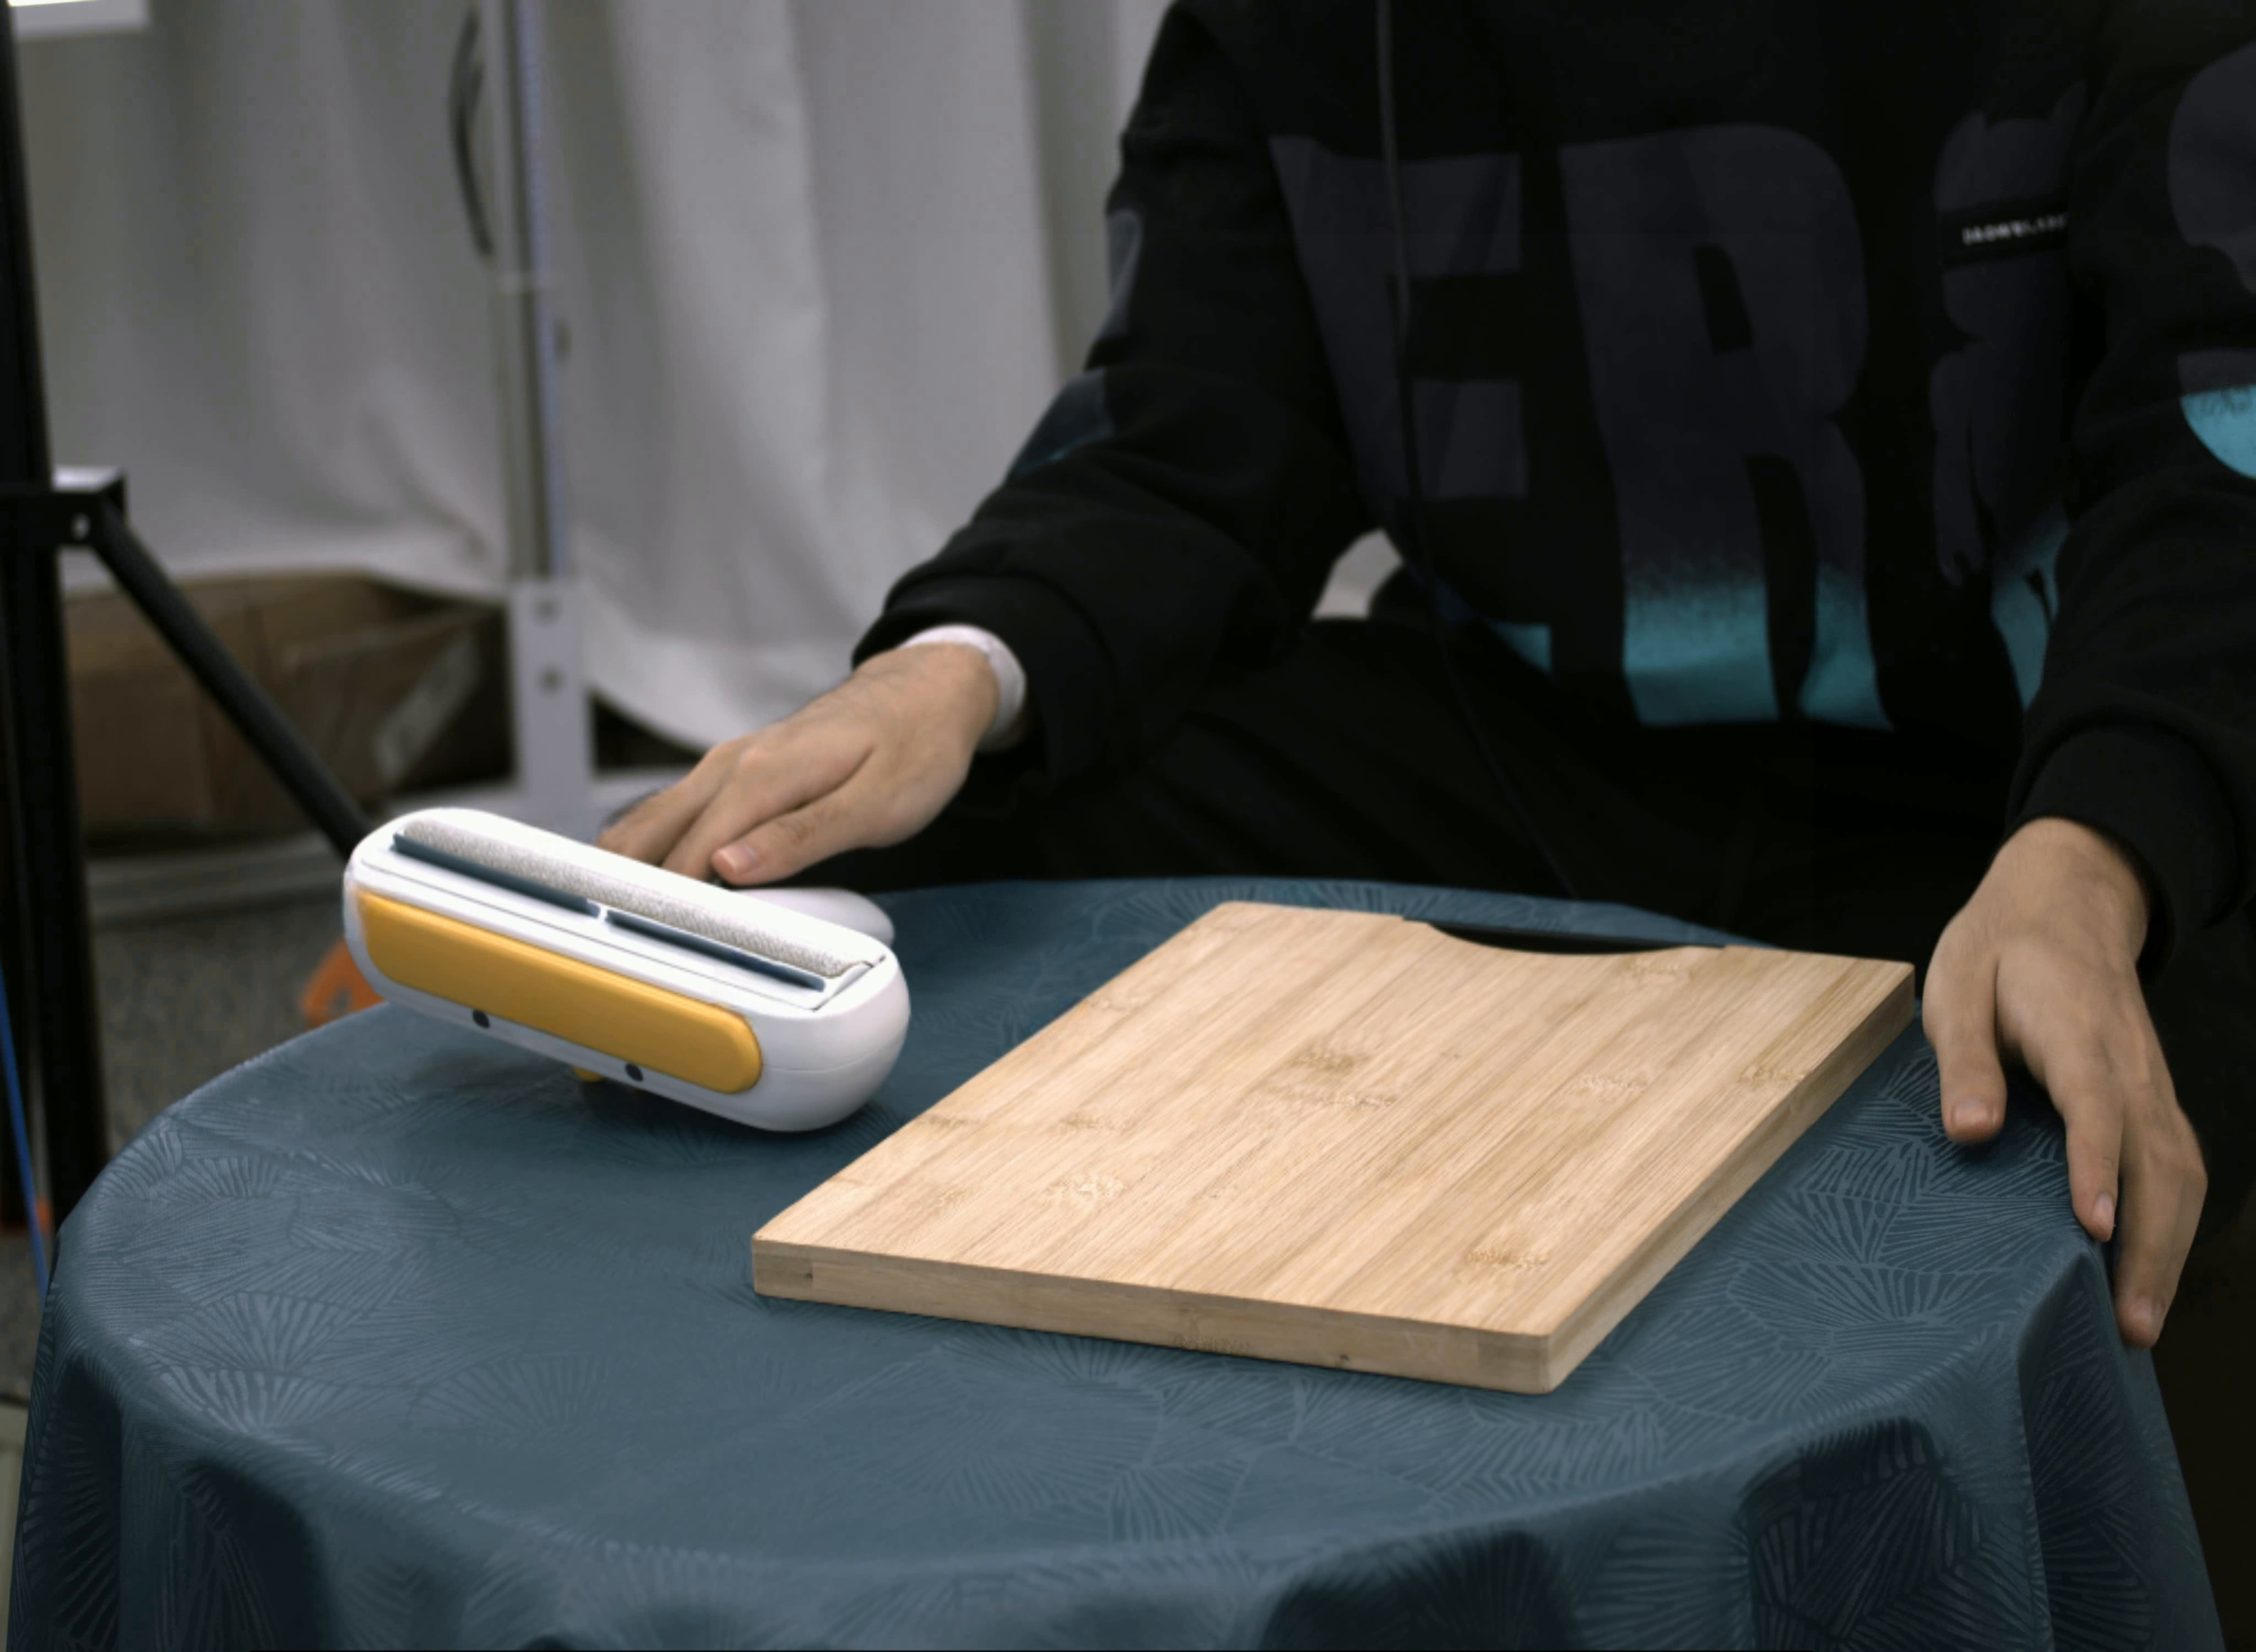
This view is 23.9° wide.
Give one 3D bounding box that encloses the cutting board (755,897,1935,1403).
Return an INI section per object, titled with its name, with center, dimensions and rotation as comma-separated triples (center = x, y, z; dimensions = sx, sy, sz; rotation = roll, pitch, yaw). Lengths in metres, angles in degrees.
[cutting board]
center = 0.074, 0.088, 1.587
dimensions = 0.254, 0.023, 0.343
rotation = 5, 18, 24

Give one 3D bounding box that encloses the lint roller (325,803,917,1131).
[lint roller]
center = -0.133, 0.036, 1.711
dimensions = 0.196, 0.074, 0.188
rotation = 14, 20, 31
